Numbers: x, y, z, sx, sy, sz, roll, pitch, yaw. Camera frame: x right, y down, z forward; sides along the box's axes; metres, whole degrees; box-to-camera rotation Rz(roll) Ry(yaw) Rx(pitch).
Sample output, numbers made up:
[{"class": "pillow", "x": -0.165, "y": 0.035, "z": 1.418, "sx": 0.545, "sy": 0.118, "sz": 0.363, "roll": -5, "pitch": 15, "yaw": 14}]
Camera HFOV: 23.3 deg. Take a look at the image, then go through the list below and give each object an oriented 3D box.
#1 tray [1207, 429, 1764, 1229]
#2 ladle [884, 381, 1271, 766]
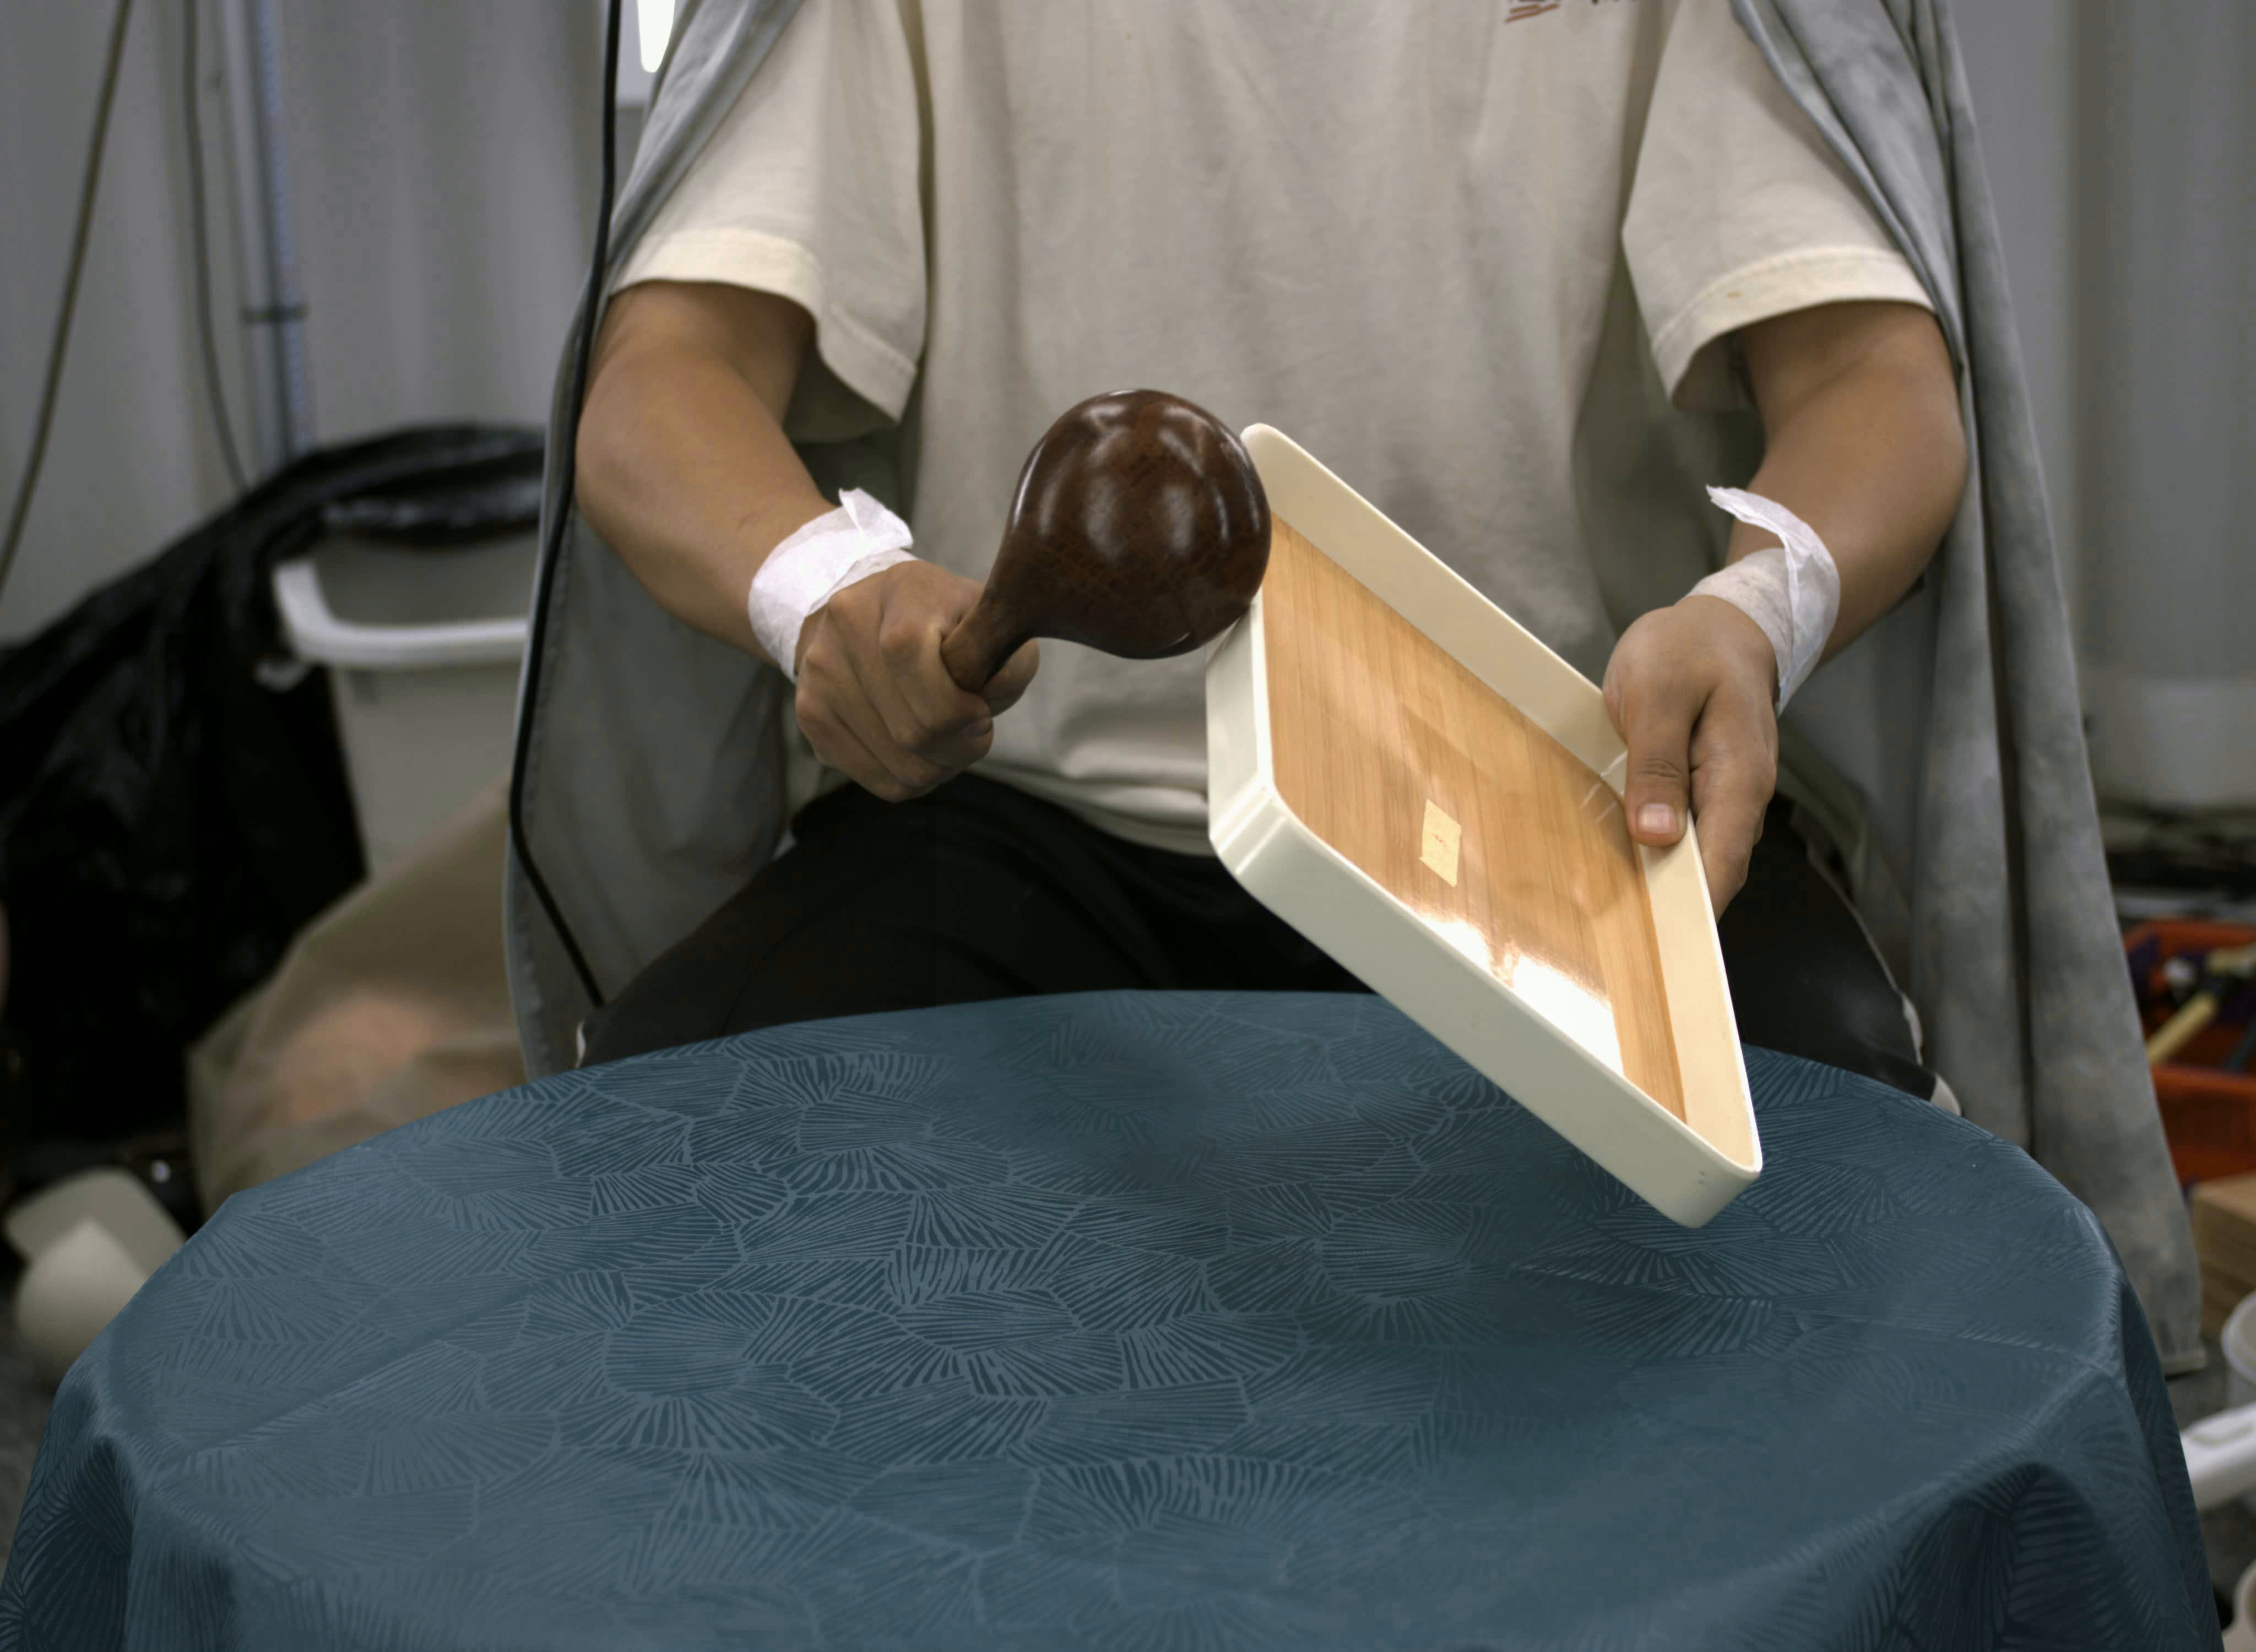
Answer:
[{"class": "tray", "x": 0.102, "y": -0.006, "z": 1.657, "sx": 0.190, "sy": 0.027, "sz": 0.303, "roll": 37, "pitch": 20, "yaw": -15}, {"class": "ladle", "x": -0.020, "y": -0.071, "z": 1.722, "sx": 0.076, "sy": 0.082, "sz": 0.273, "roll": -19, "pitch": -6, "yaw": -15}]
